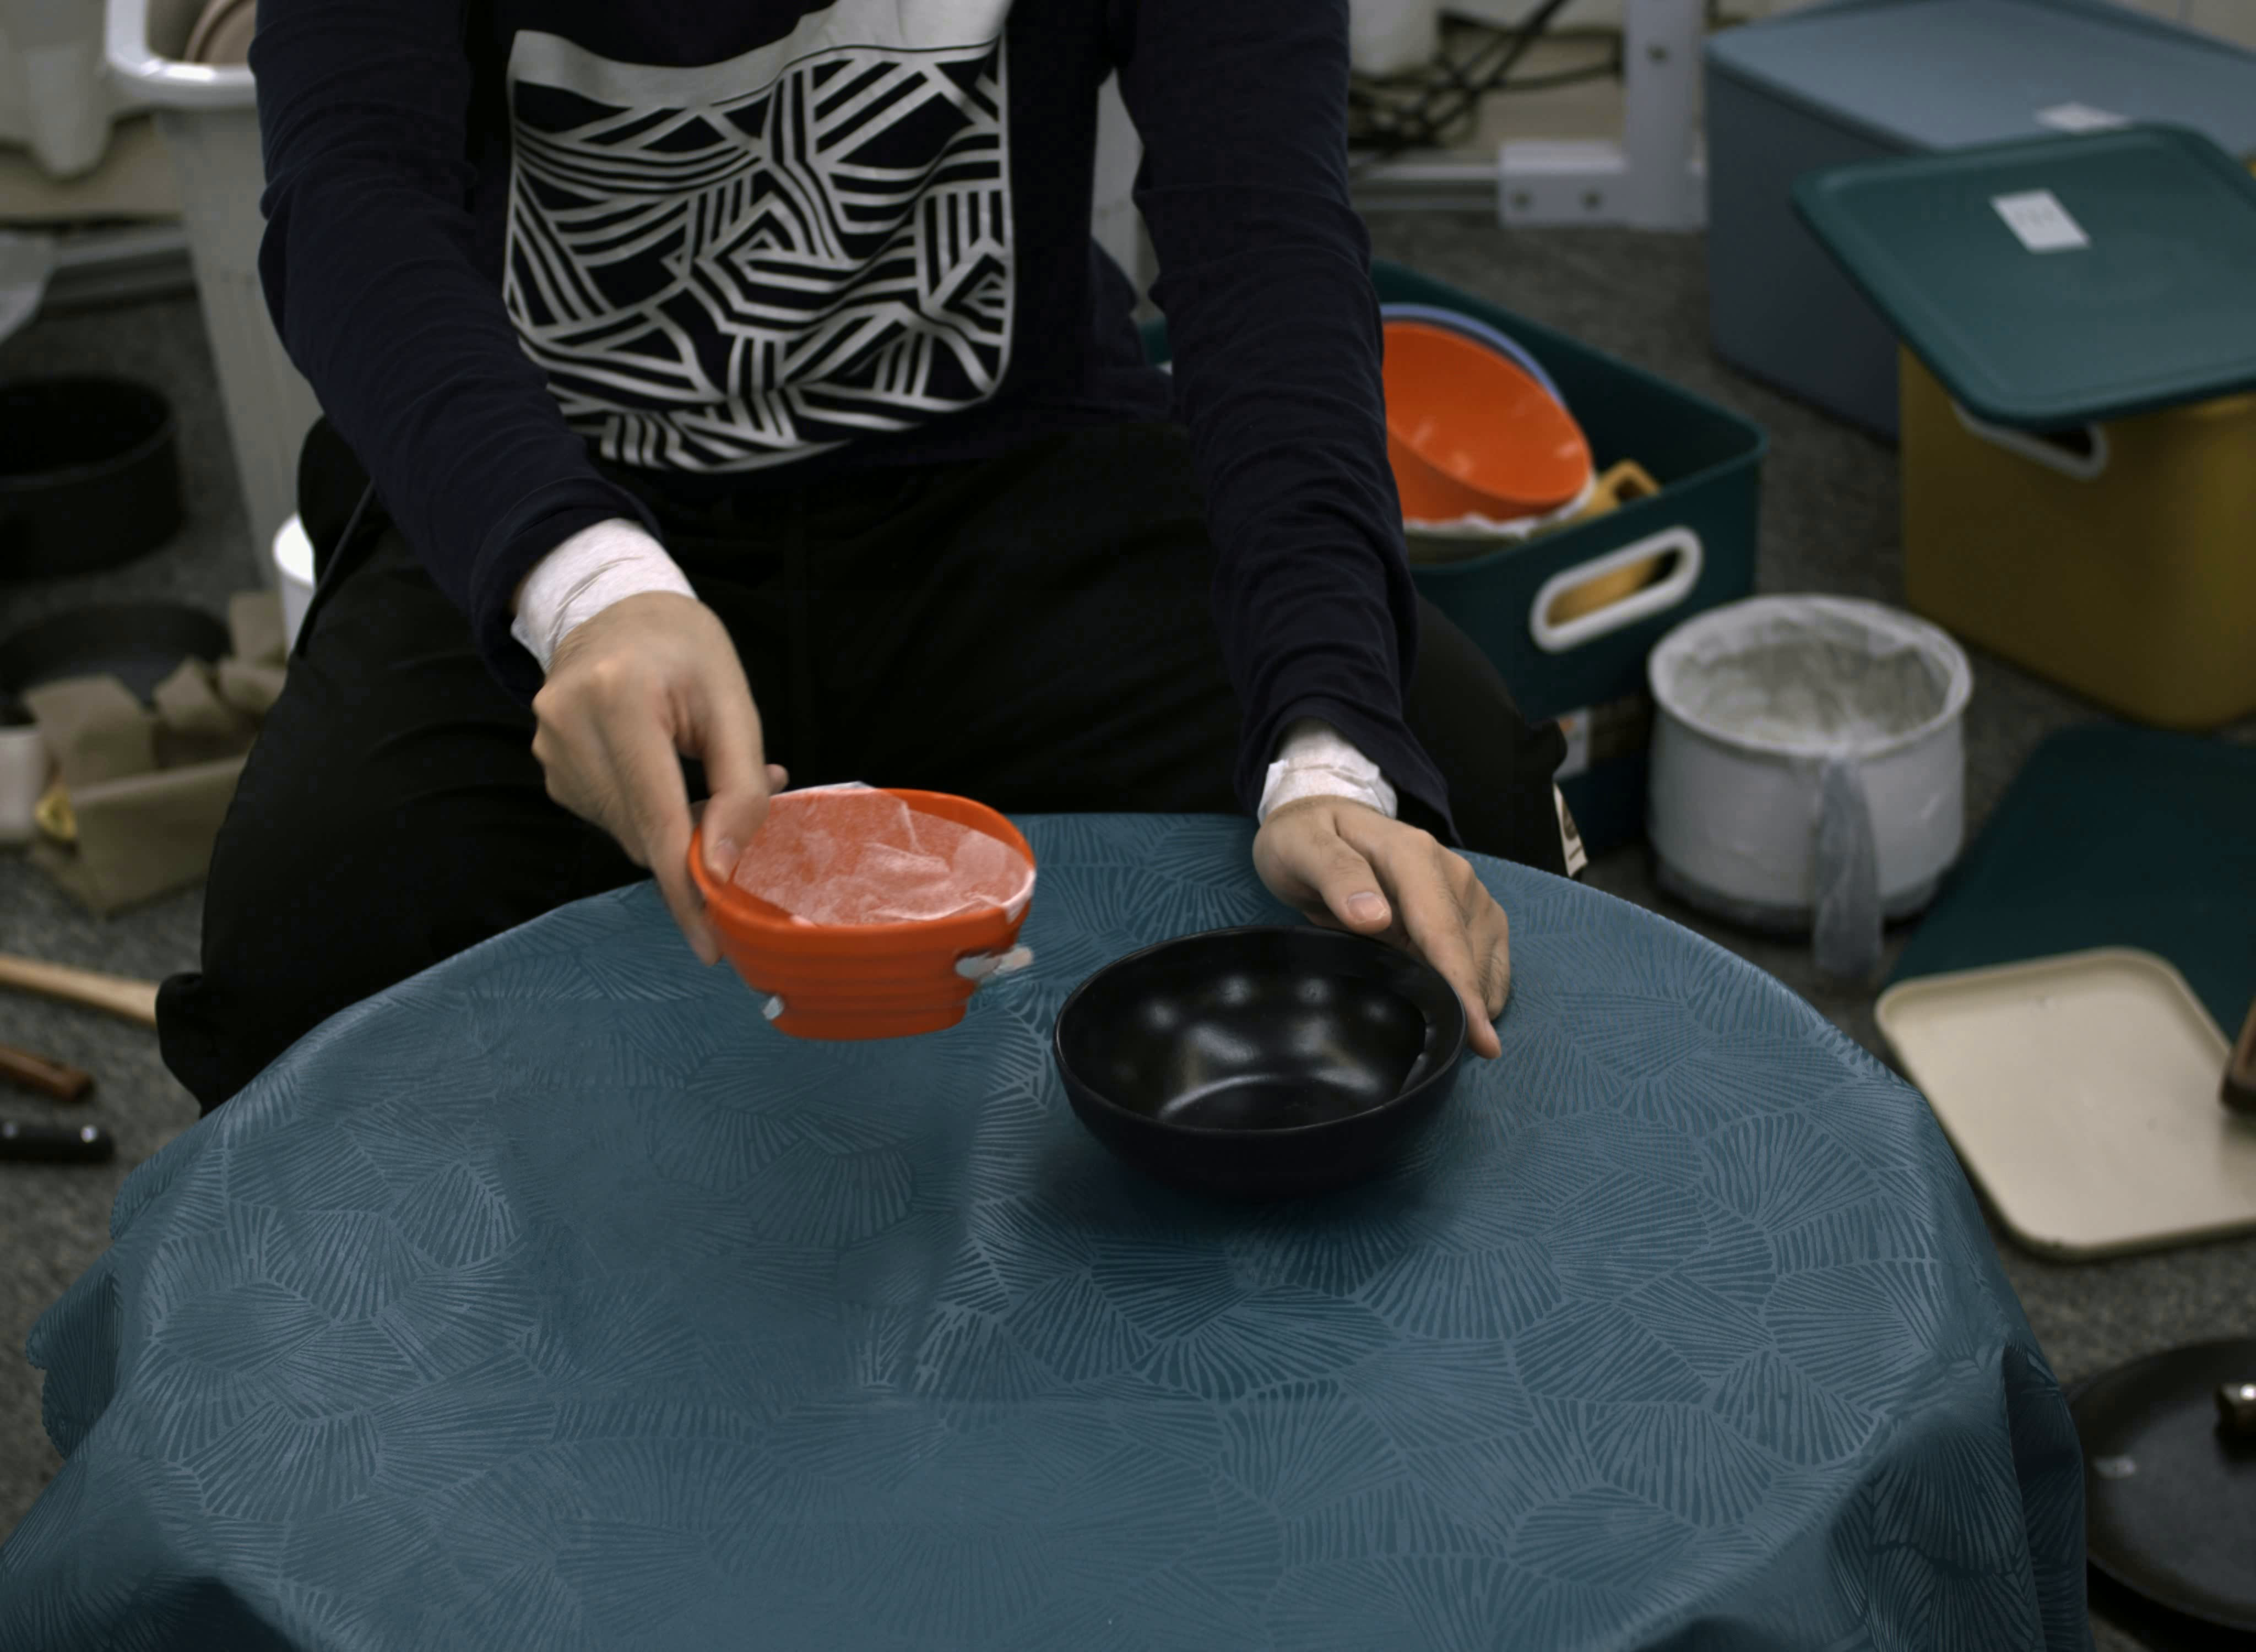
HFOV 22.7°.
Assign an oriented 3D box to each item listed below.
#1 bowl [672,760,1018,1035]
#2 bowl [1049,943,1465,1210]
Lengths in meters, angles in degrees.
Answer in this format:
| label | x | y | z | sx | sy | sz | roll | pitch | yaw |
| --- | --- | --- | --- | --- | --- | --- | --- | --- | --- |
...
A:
| label | x | y | z | sx | sy | sz | roll | pitch | yaw |
| --- | --- | --- | --- | --- | --- | --- | --- | --- | --- |
| bowl | -0.089 | 0.027 | 1.803 | 0.118 | 0.051 | 0.121 | -3 | 28 | 2 |
| bowl | 0.044 | 0.090 | 1.872 | 0.139 | 0.049 | 0.142 | -3 | 23 | 2 |
